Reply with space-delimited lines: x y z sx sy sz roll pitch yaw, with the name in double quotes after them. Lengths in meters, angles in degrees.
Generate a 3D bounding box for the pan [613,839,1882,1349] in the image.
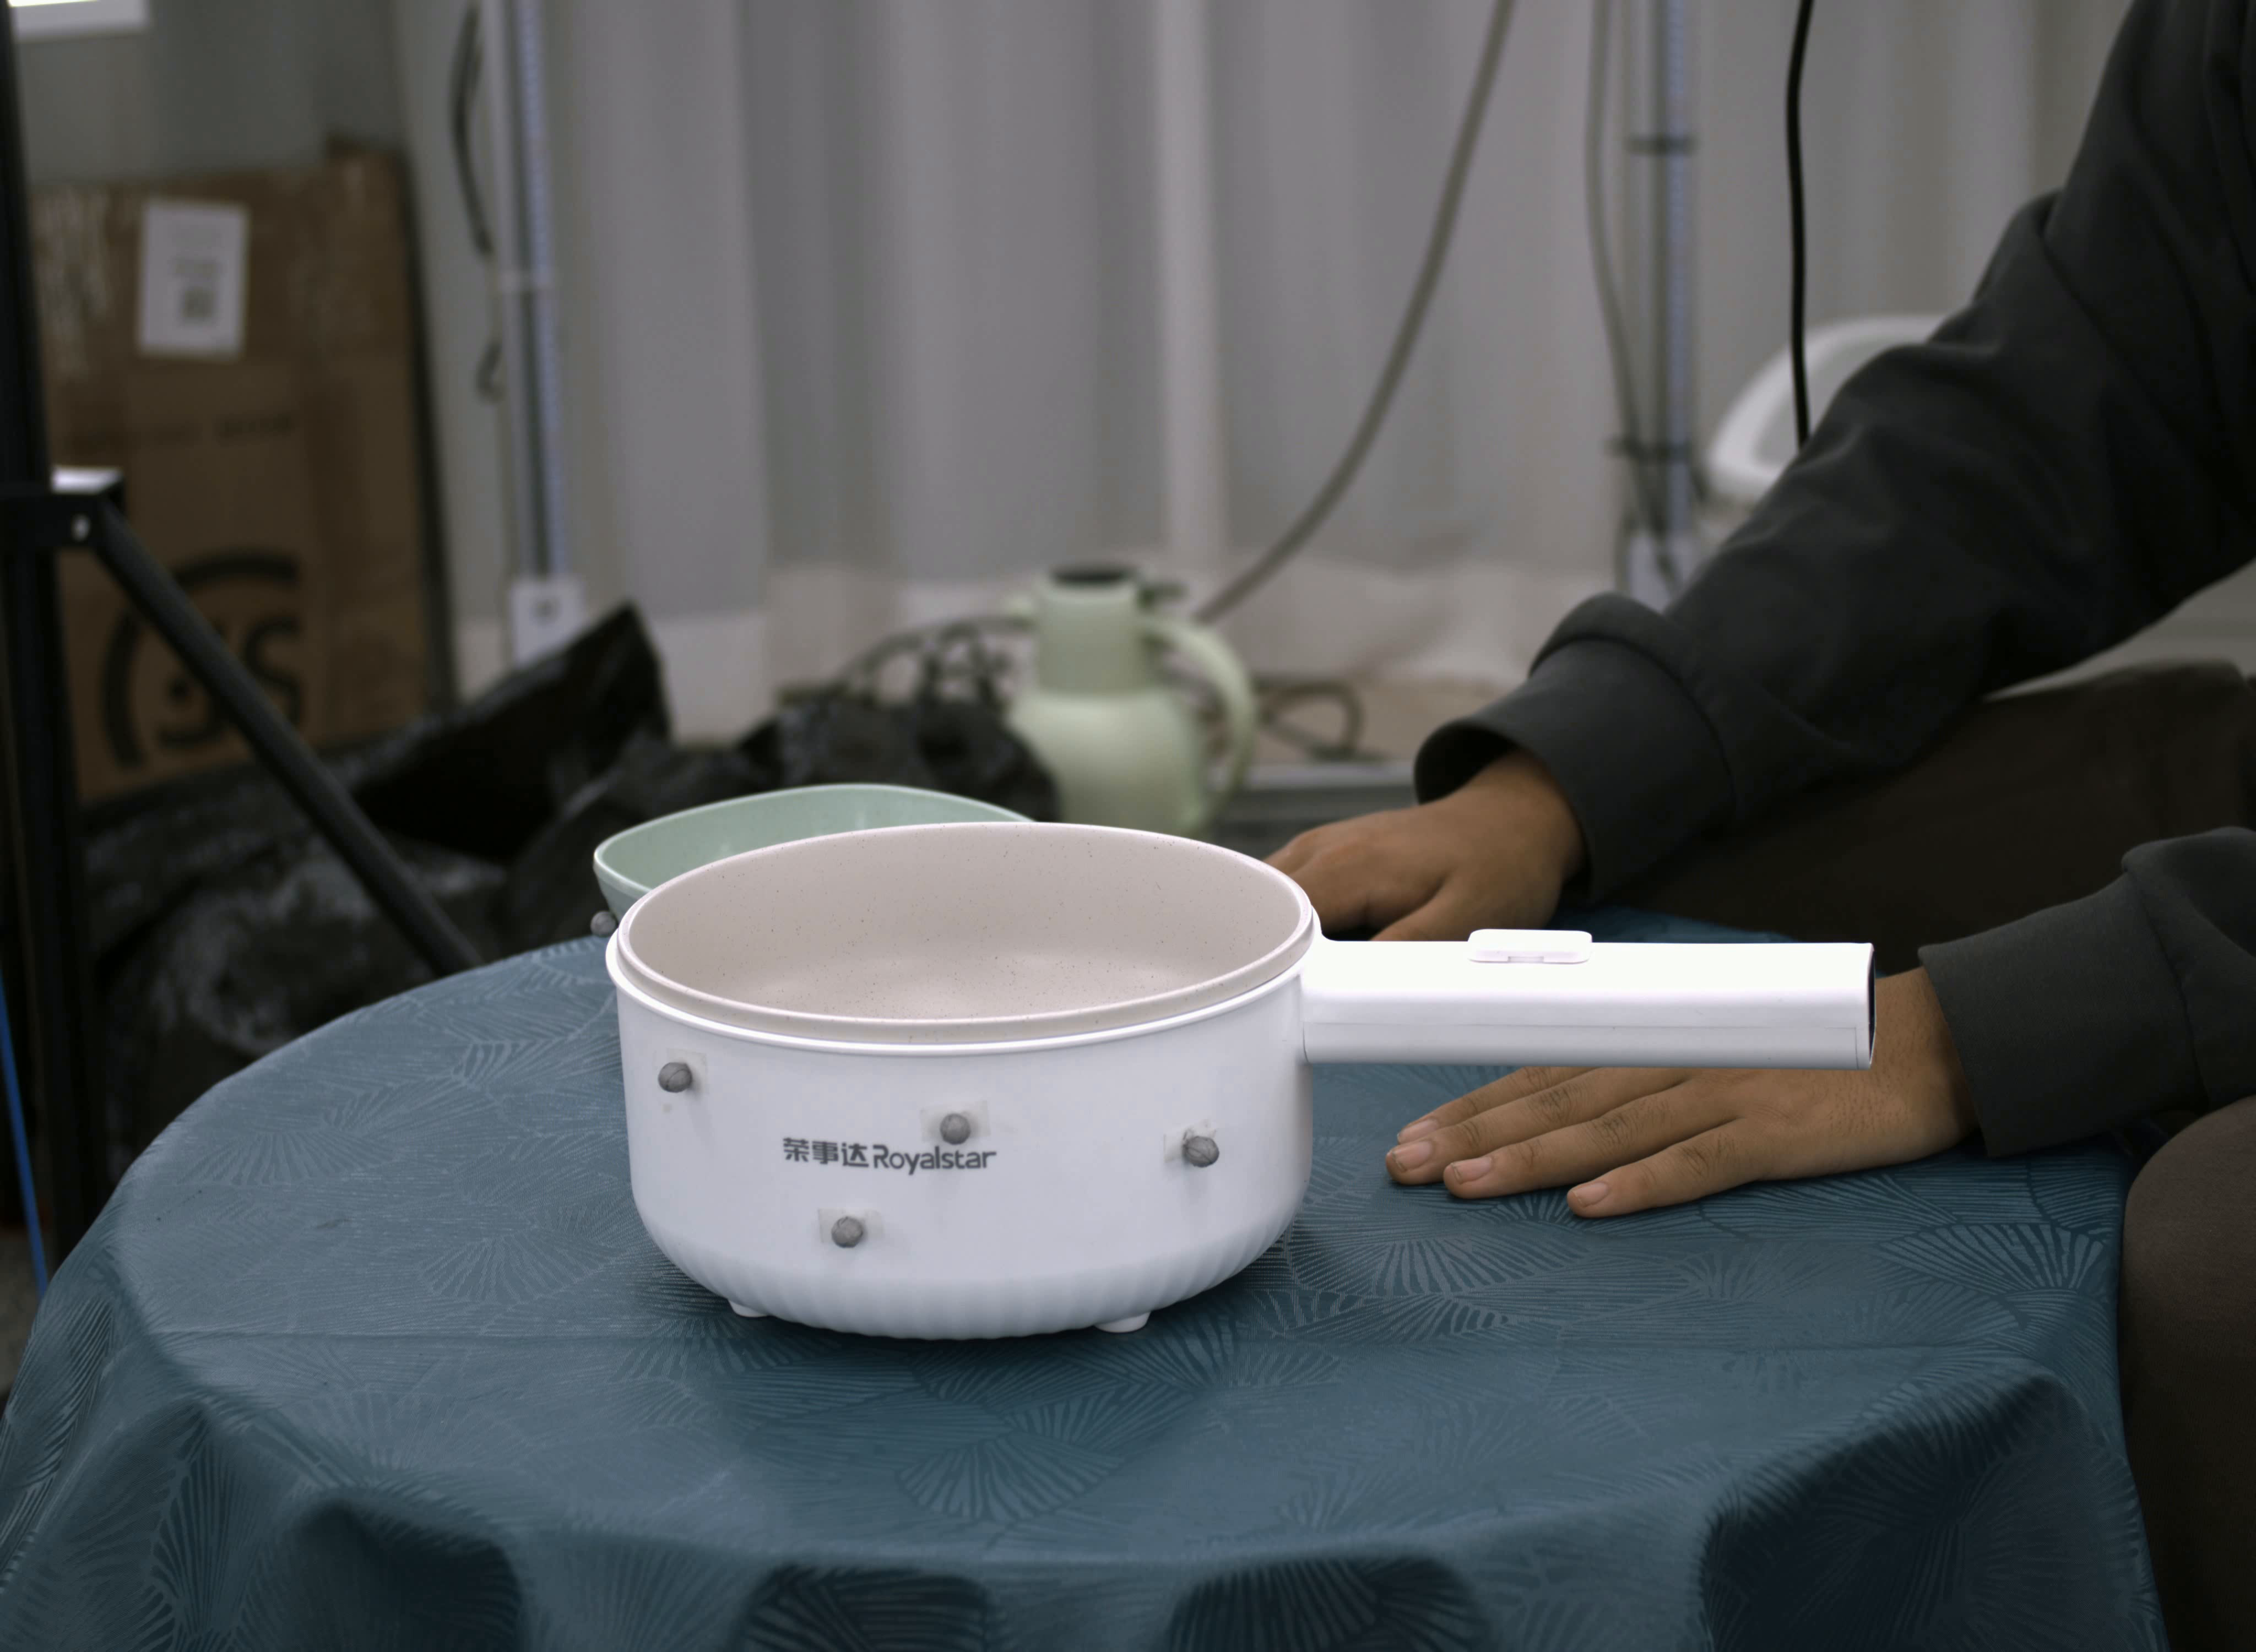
0.032 0.080 1.485 0.356 0.102 0.200 3 14 12 "pan"

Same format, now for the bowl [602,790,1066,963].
-0.093 0.036 1.723 0.151 0.058 0.152 -4 16 0 "bowl"
